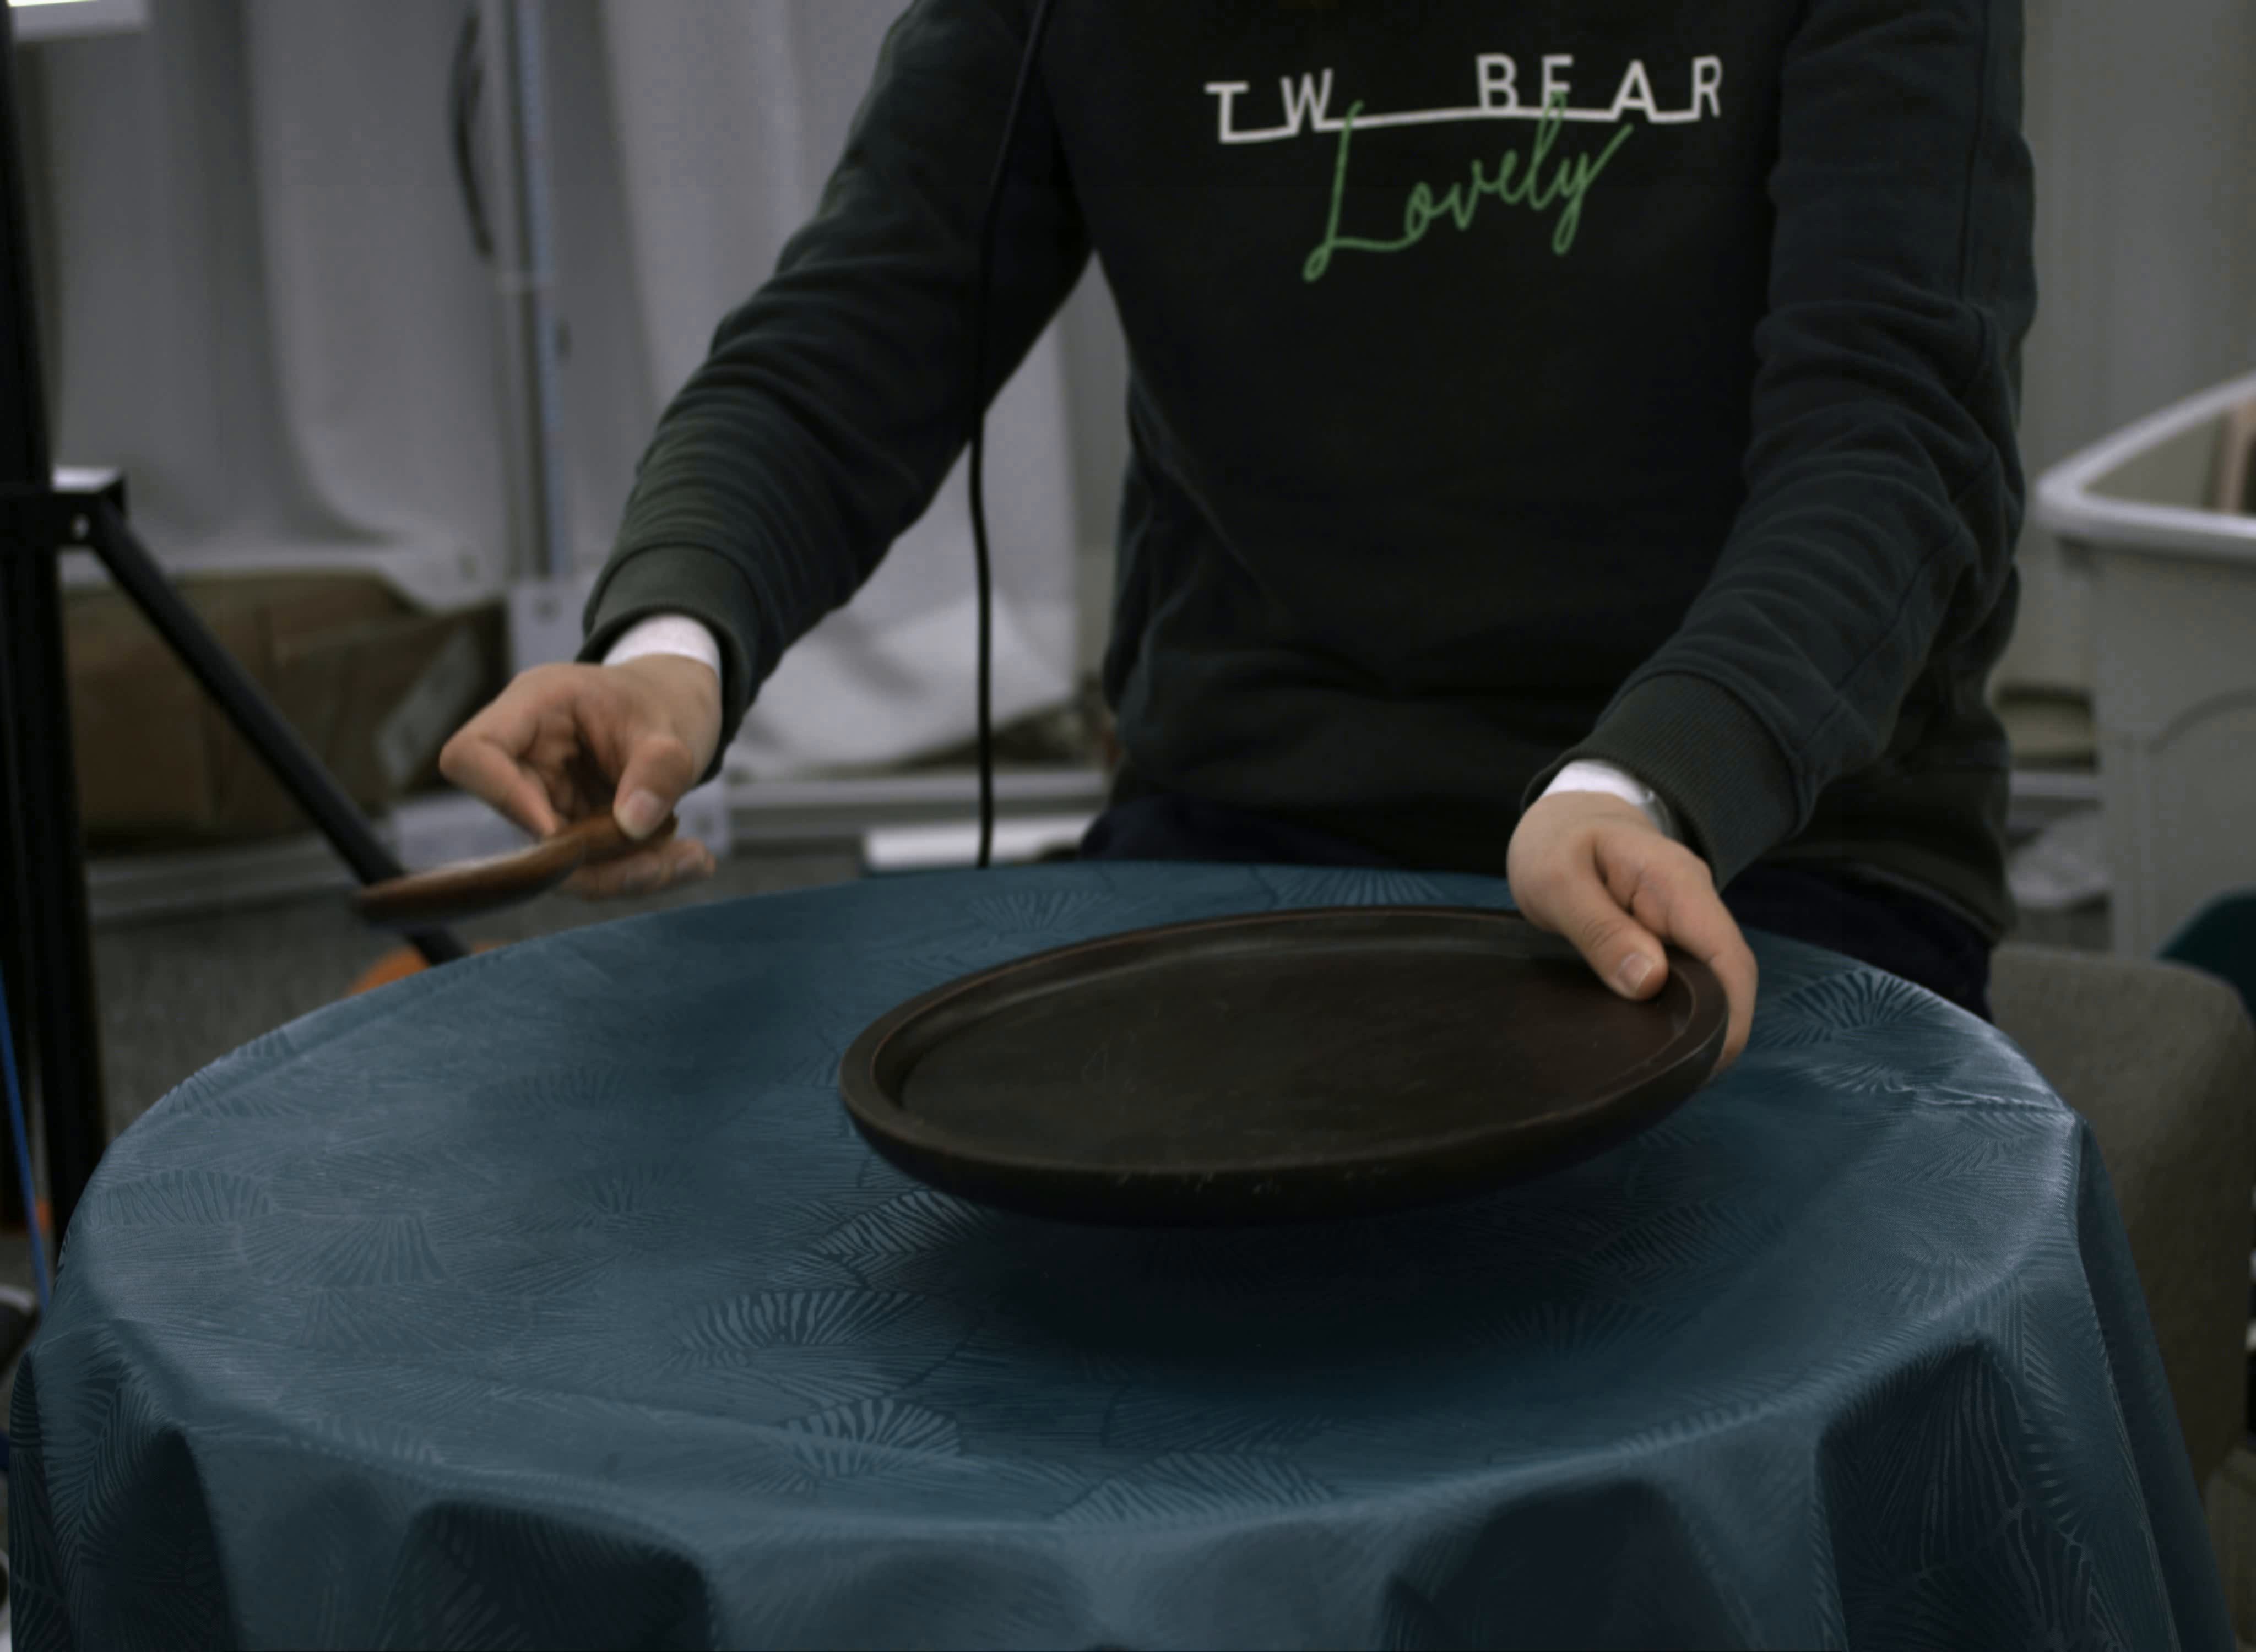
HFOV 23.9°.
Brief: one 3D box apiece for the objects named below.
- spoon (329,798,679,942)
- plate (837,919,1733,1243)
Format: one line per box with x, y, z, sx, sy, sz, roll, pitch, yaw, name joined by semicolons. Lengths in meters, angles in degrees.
-0.176;0.012;1.598;0.076;0.017;0.214;-15;4;15;spoon
0.044;0.069;1.496;0.253;0.029;0.256;-6;16;0;plate
